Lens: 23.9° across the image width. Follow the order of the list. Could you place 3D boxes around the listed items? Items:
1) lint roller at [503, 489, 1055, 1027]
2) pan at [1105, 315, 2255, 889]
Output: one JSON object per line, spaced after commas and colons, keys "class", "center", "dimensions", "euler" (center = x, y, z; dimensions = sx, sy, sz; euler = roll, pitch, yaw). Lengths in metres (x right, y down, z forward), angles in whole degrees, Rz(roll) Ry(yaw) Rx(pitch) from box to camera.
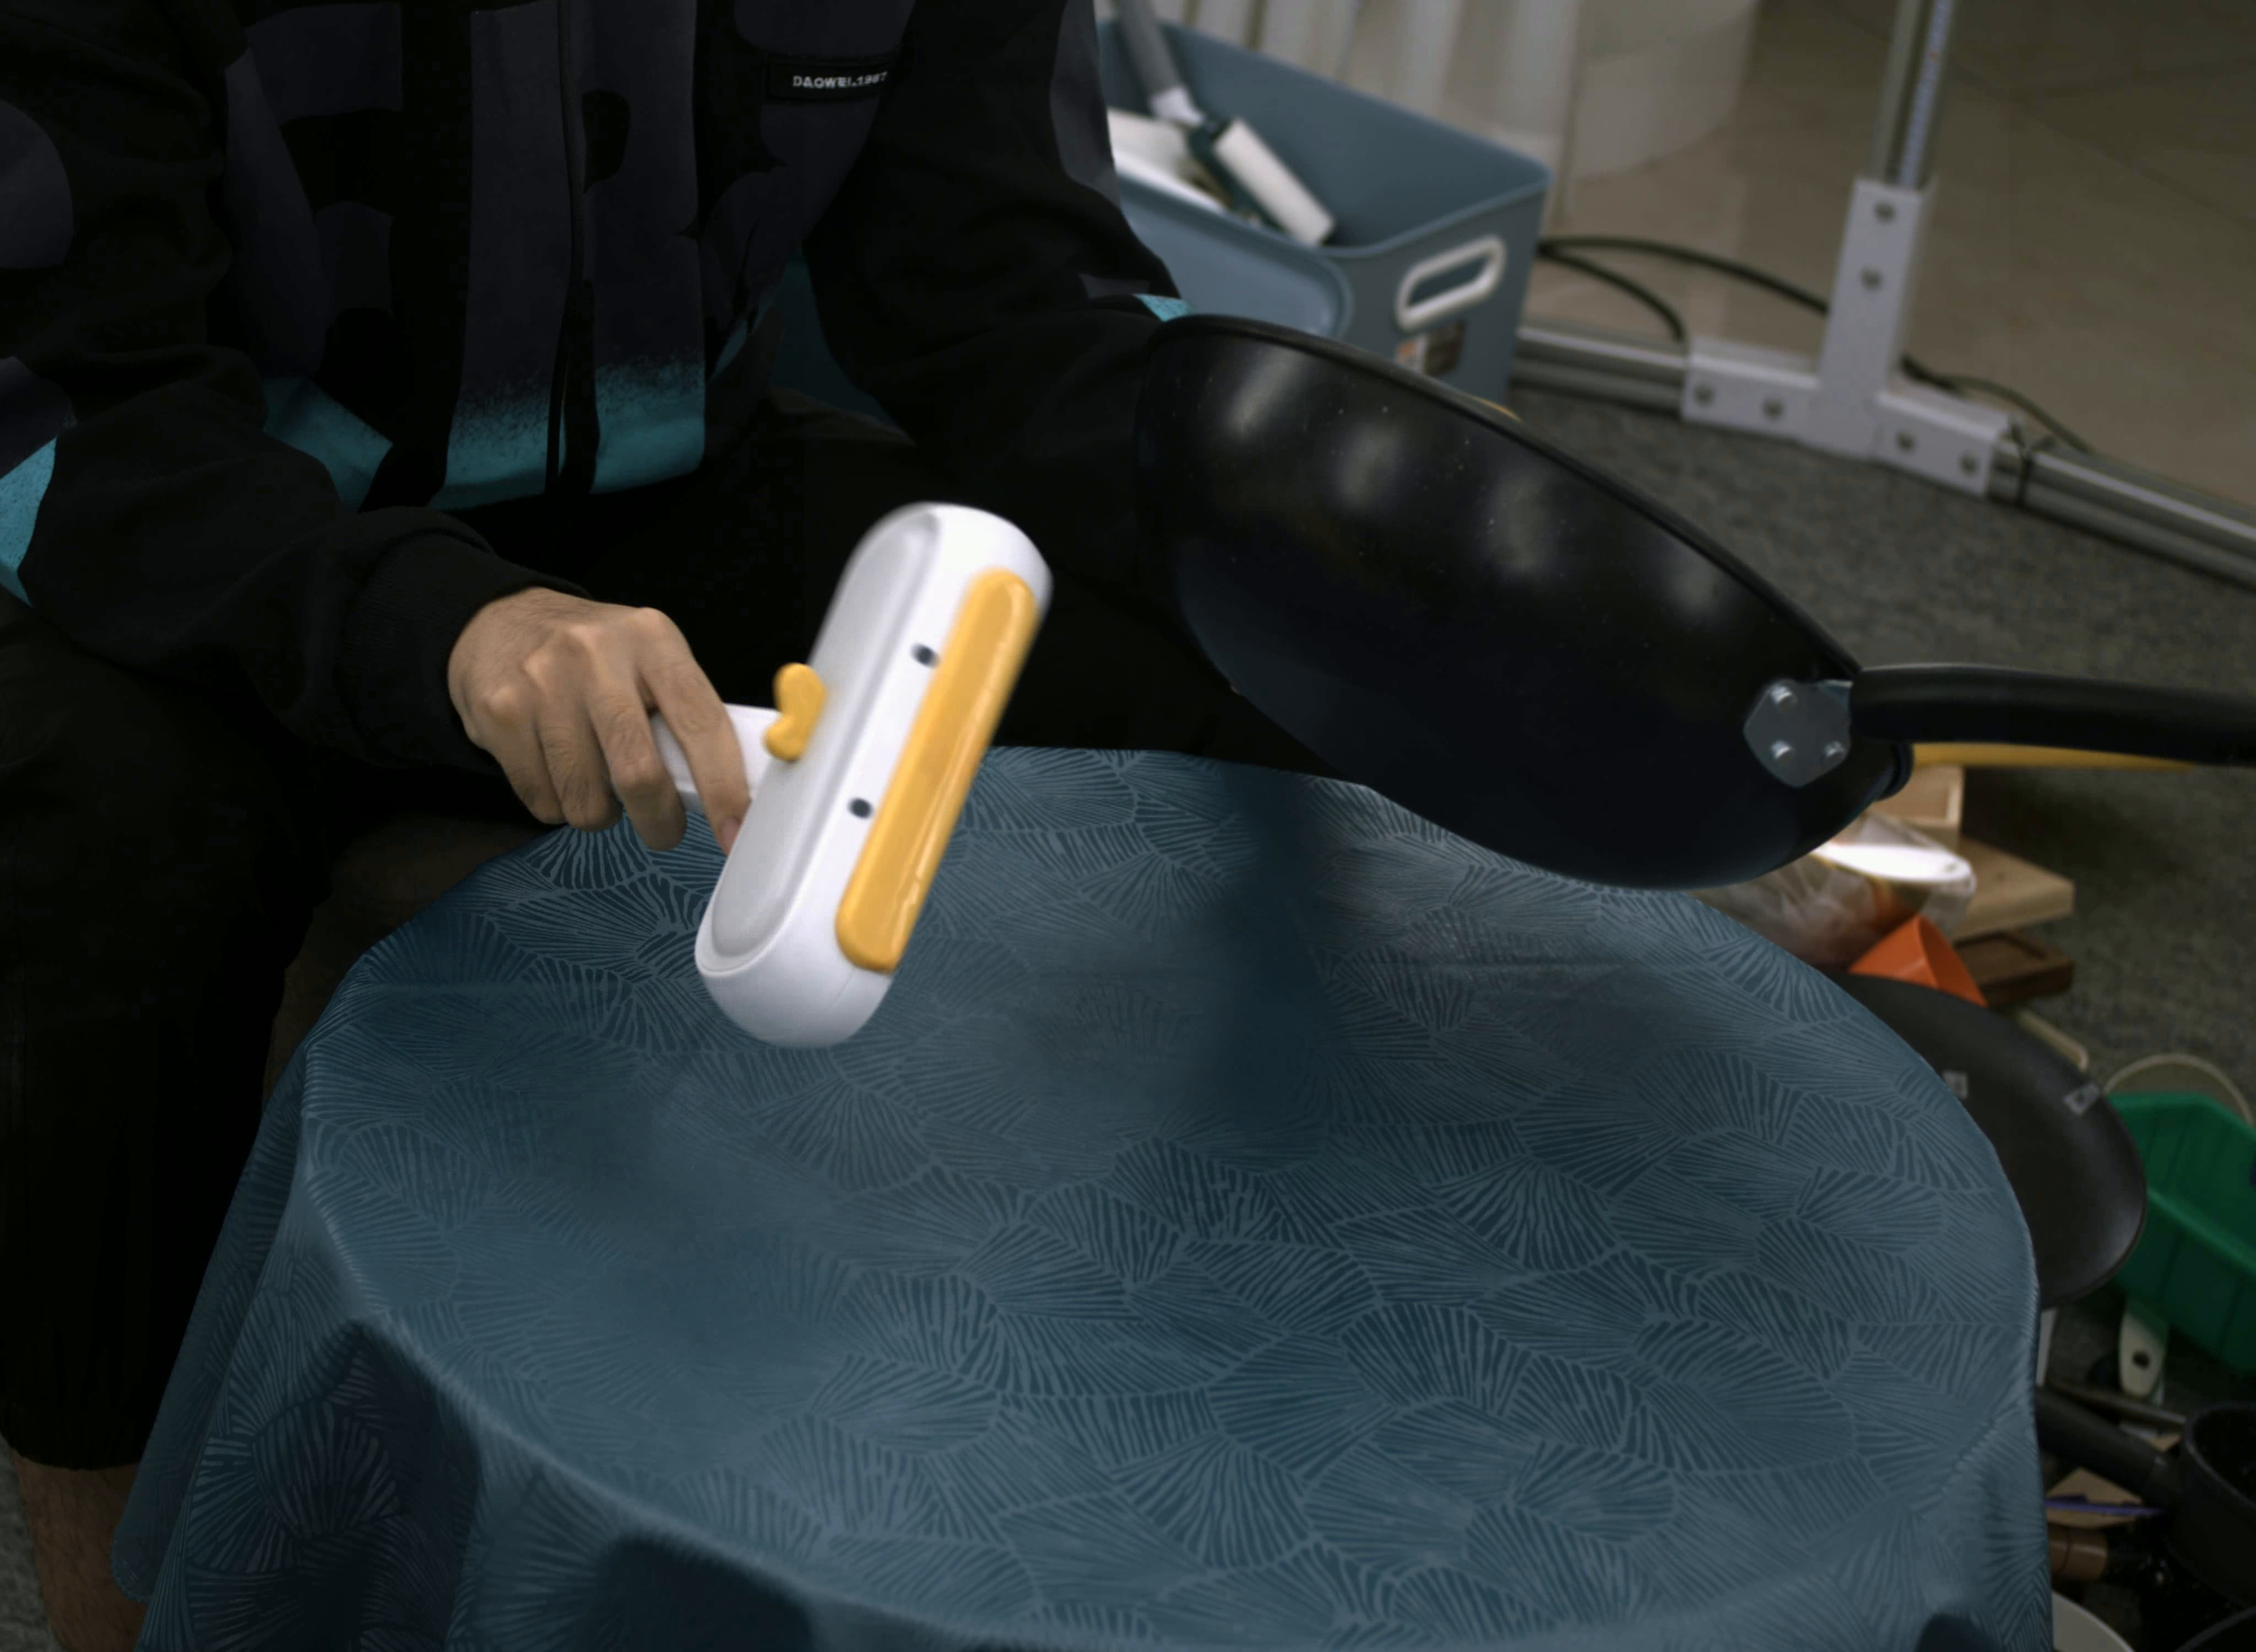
{"class": "lint roller", "center": [-0.127, -0.024, 1.784], "dimensions": [0.193, 0.194, 0.073], "euler": [-5, -31, 43]}
{"class": "pan", "center": [0.175, -0.047, 1.805], "dimensions": [0.480, 0.112, 0.307], "euler": [21, -13, 43]}
